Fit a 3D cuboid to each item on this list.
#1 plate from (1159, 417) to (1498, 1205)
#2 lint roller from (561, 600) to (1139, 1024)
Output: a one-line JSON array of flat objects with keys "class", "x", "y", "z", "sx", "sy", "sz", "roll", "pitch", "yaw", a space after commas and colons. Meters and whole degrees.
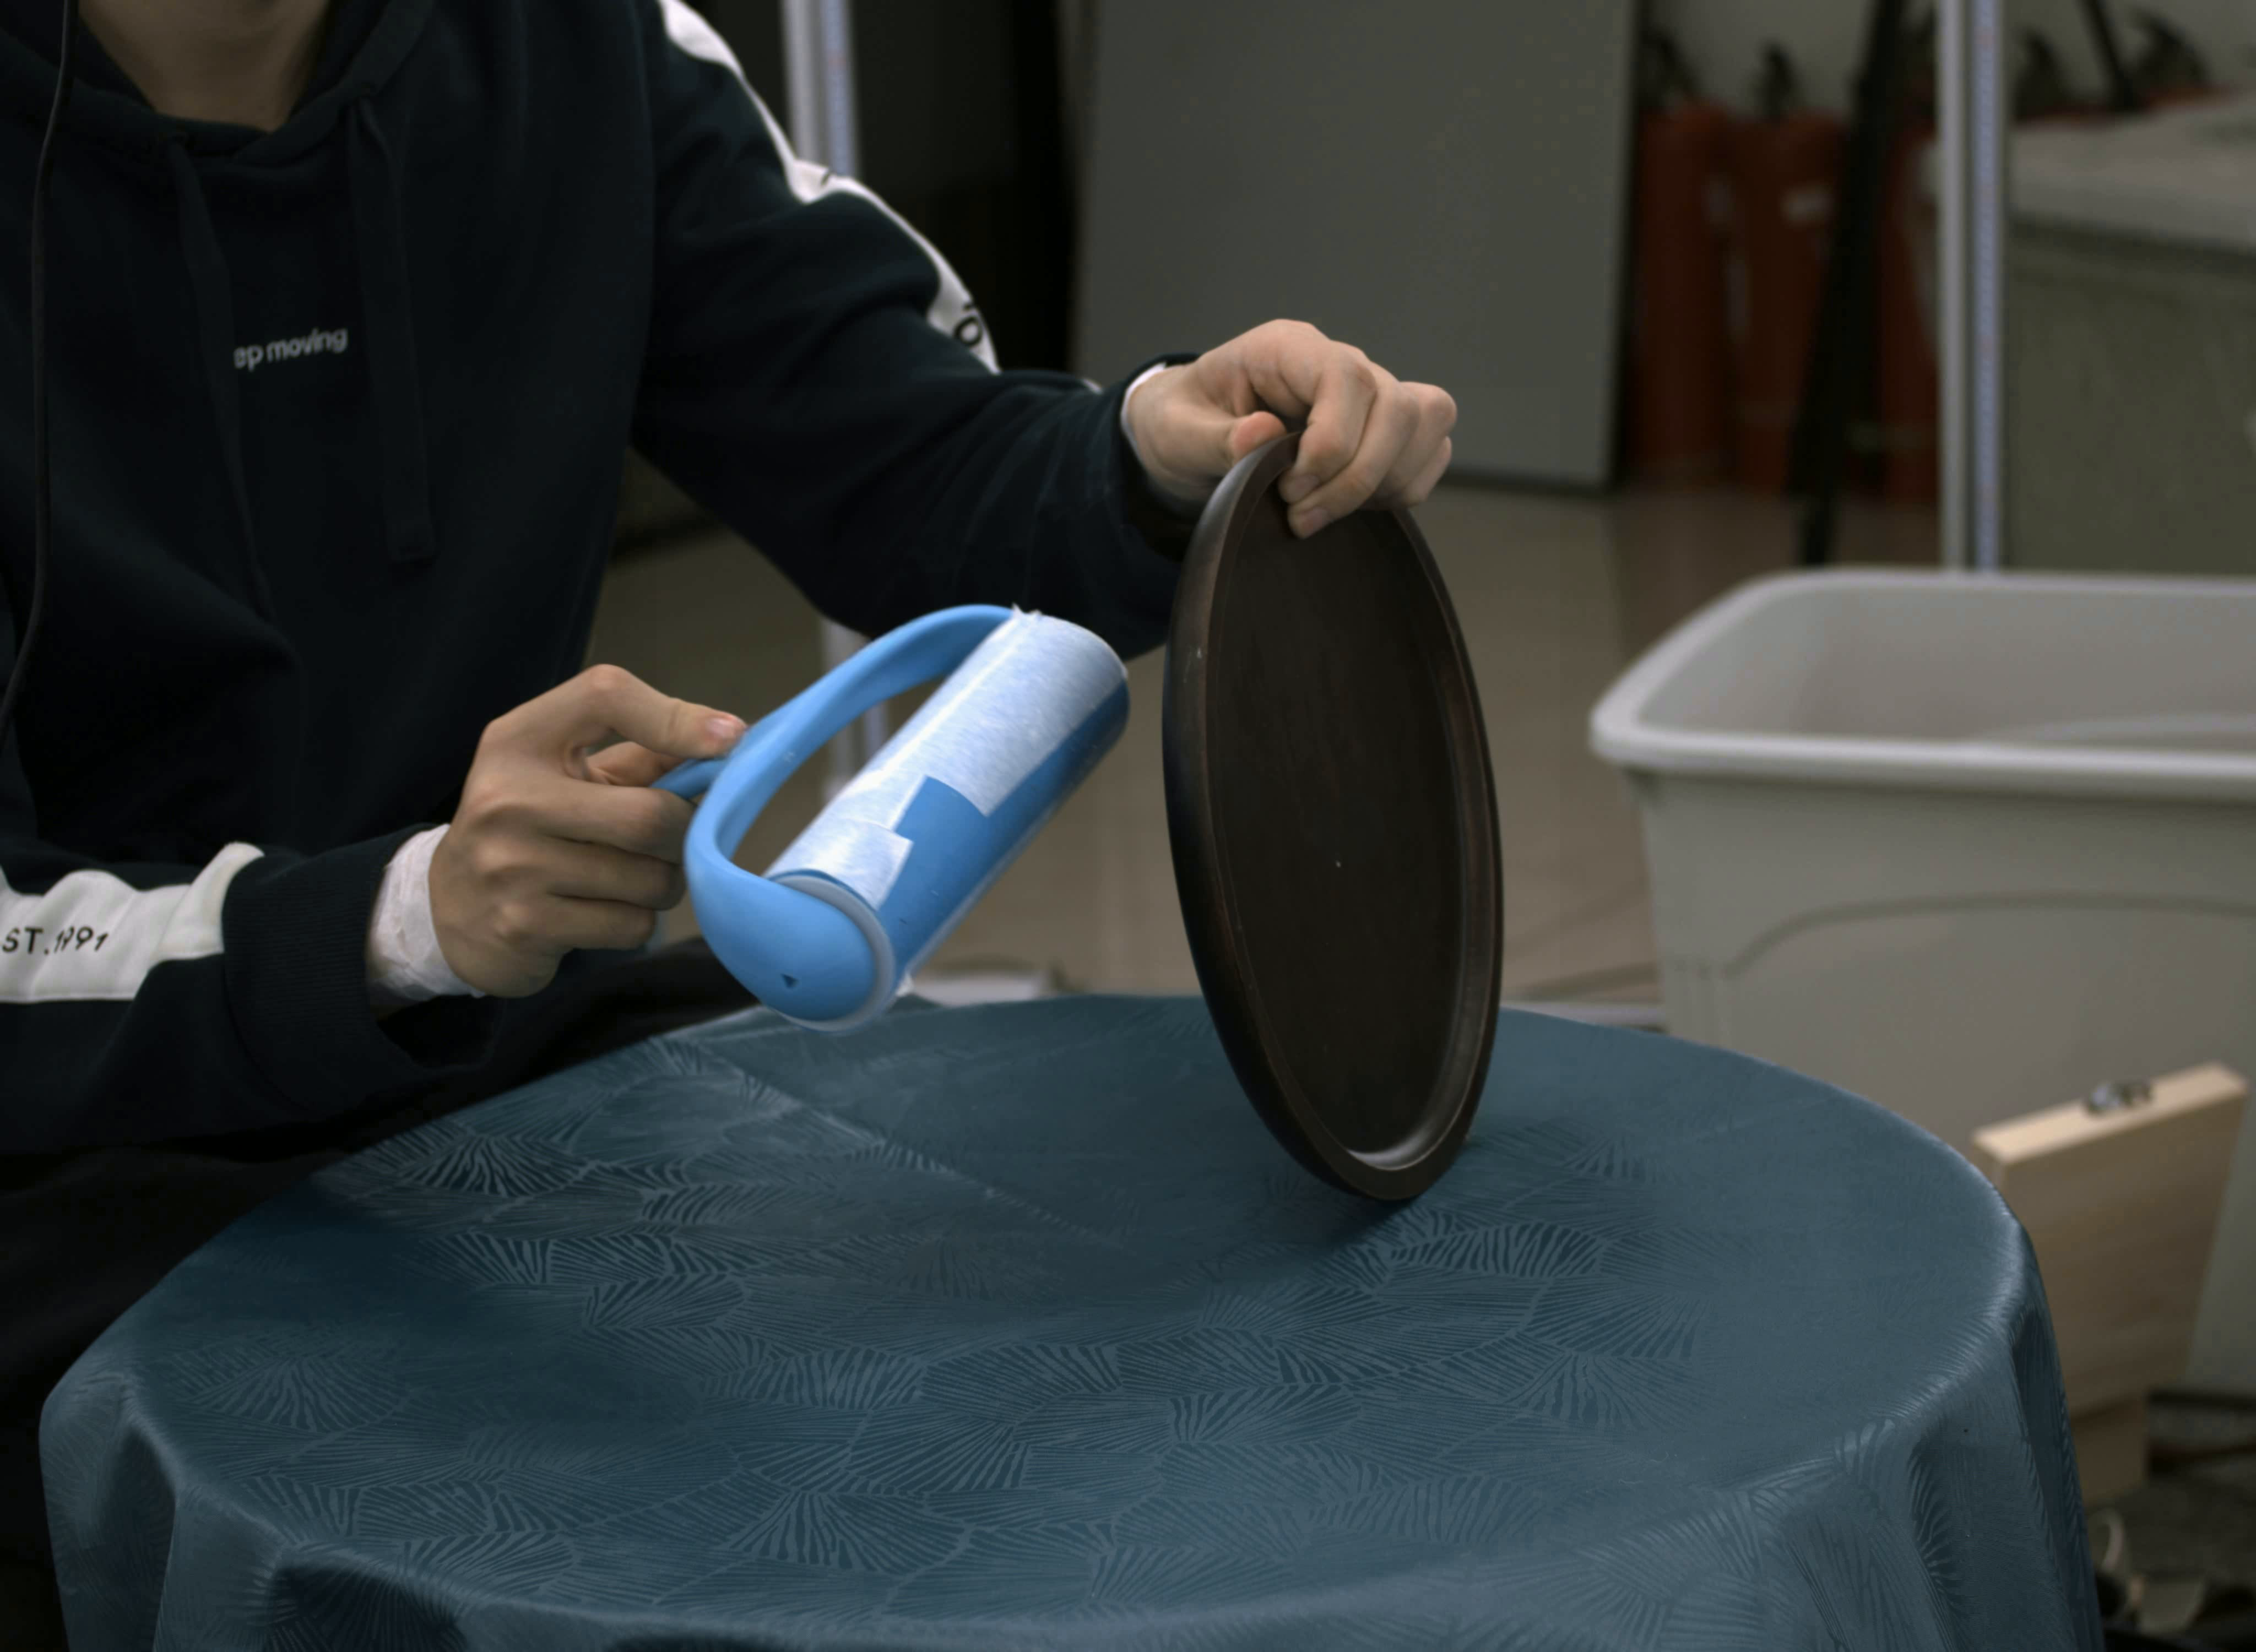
[{"class": "plate", "x": 0.067, "y": -0.004, "z": 1.740, "sx": 0.029, "sy": 0.257, "sz": 0.252, "roll": -7, "pitch": 11, "yaw": 23}, {"class": "lint roller", "x": -0.107, "y": 0.002, "z": 1.668, "sx": 0.180, "sy": 0.068, "sz": 0.227, "roll": -10, "pitch": 22, "yaw": 24}]
